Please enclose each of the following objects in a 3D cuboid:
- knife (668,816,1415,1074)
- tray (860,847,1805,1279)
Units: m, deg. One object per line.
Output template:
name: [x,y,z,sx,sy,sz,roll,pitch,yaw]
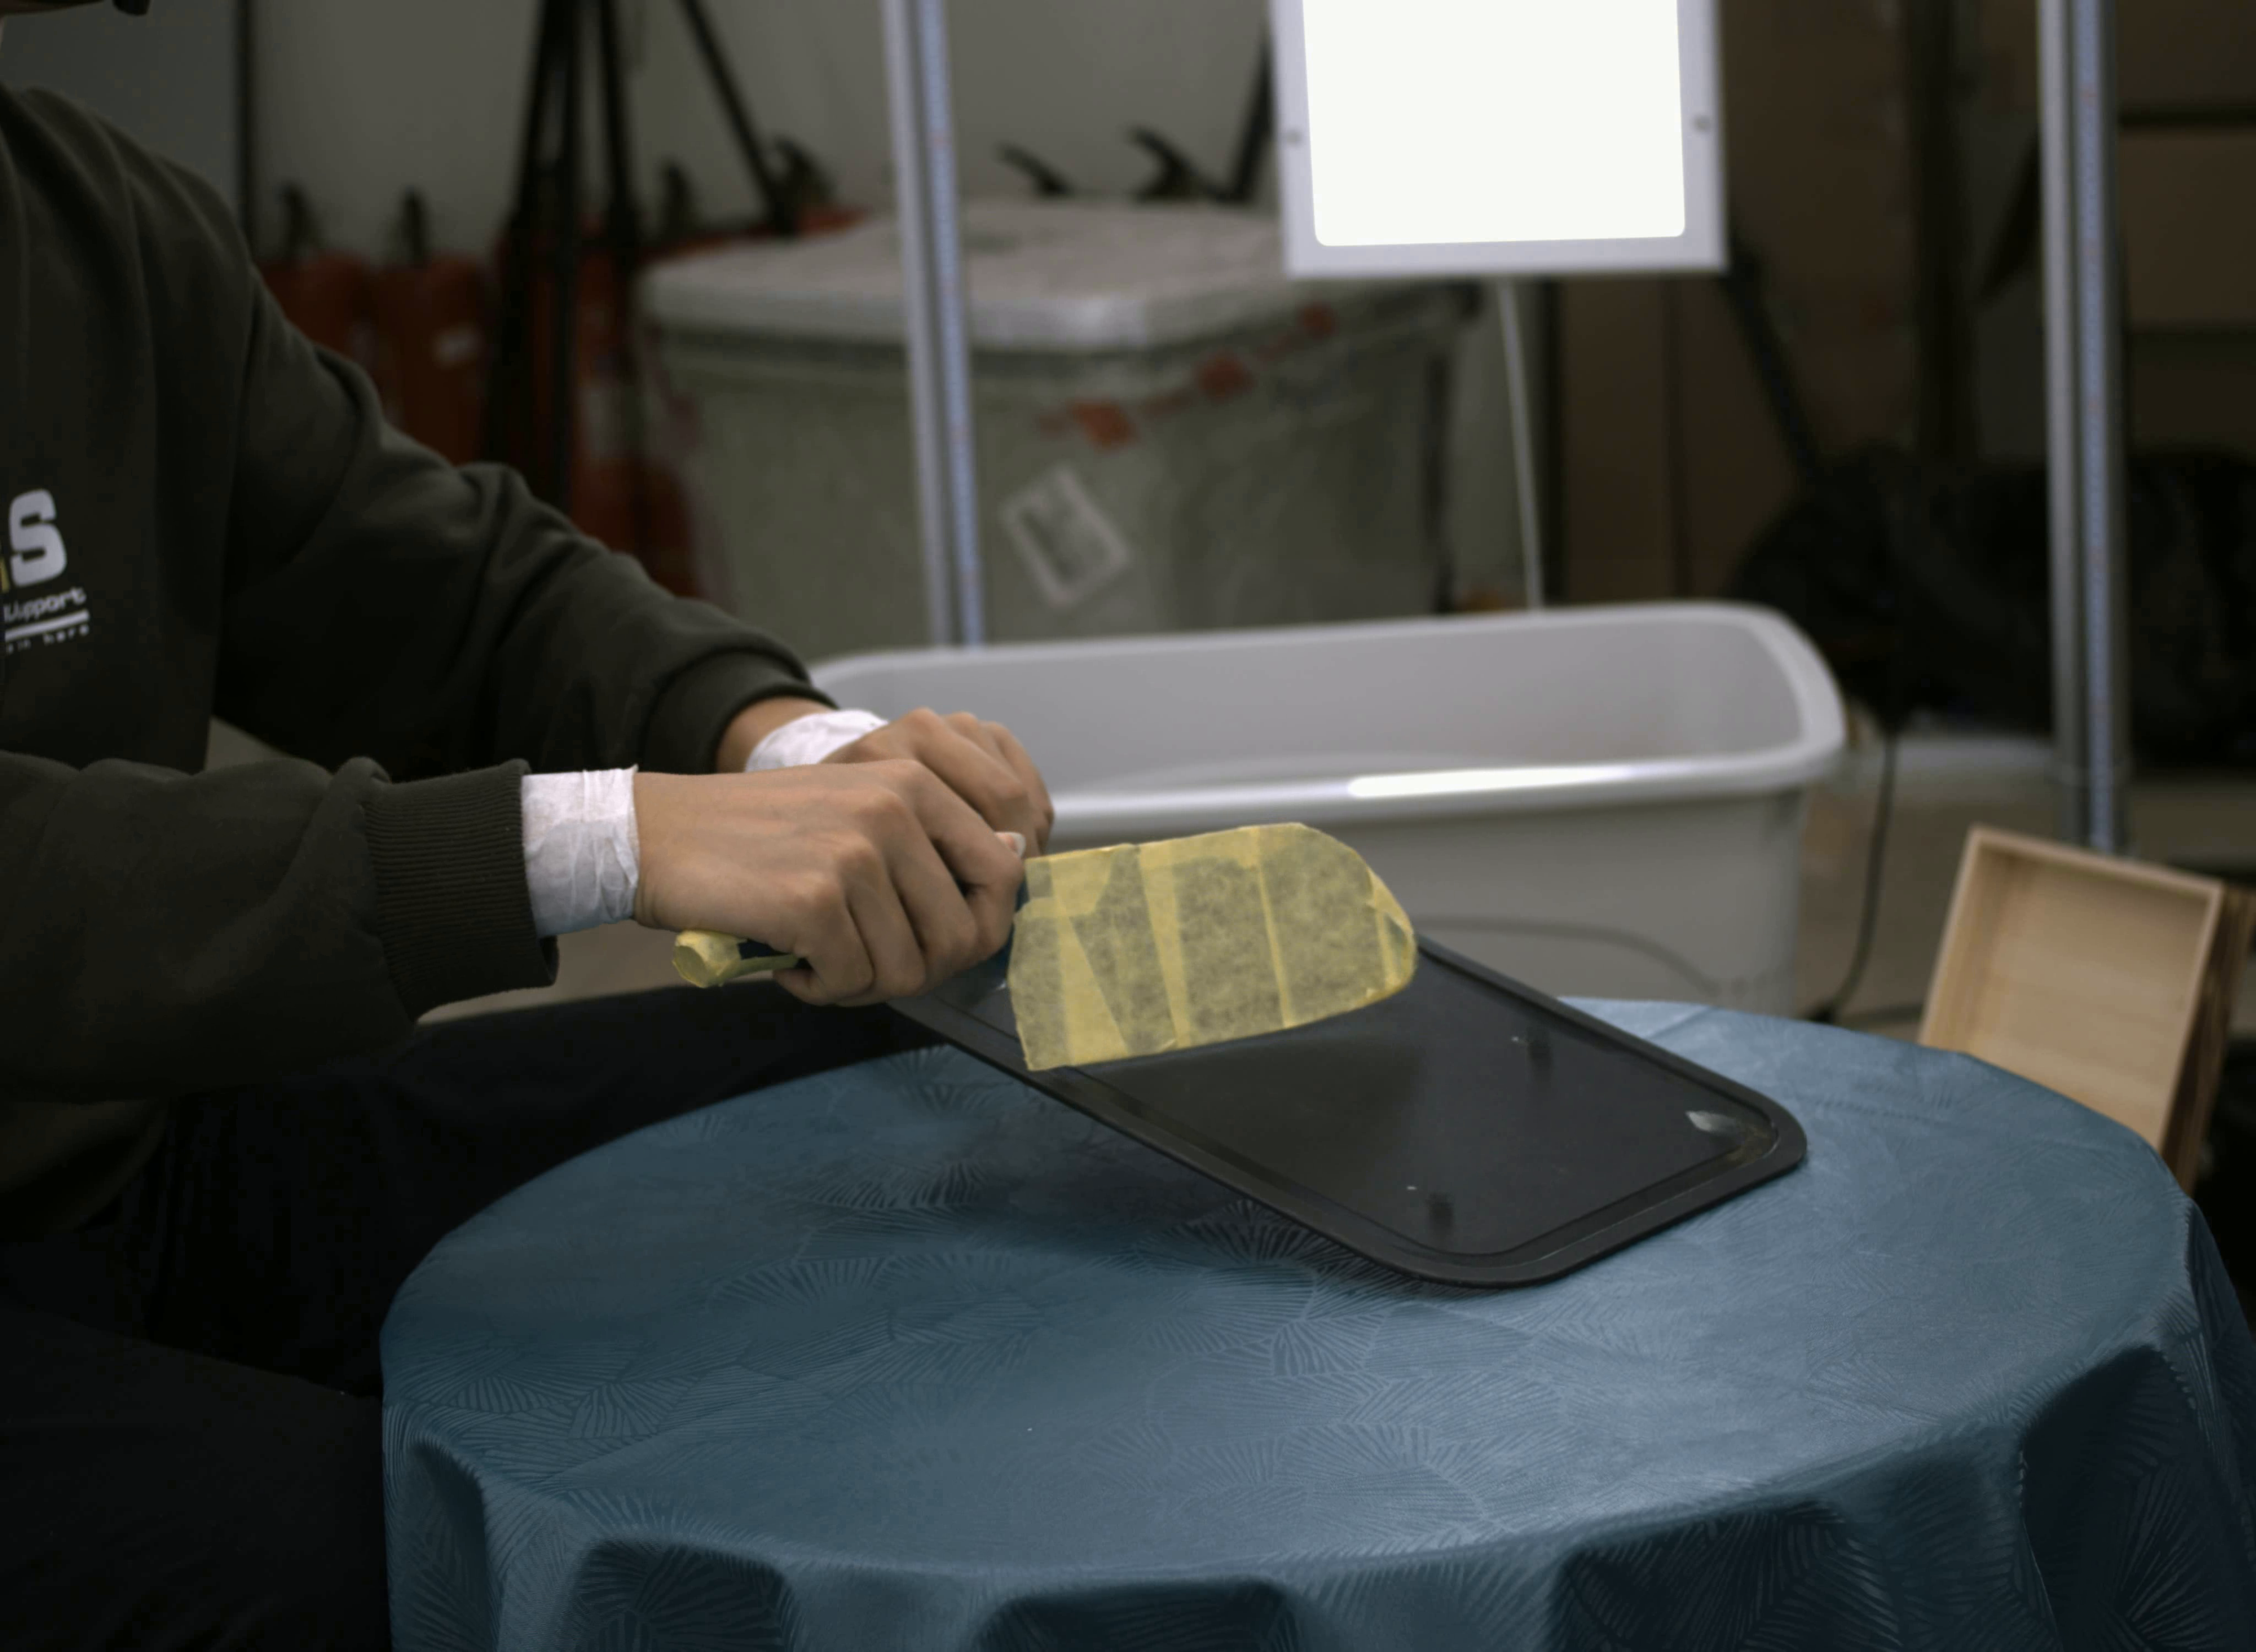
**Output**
knife: [-0.023,0.043,1.880,0.283,0.081,0.028,-6,-9,-27]
tray: [0.063,0.074,1.912,0.331,0.010,0.206,25,30,38]
